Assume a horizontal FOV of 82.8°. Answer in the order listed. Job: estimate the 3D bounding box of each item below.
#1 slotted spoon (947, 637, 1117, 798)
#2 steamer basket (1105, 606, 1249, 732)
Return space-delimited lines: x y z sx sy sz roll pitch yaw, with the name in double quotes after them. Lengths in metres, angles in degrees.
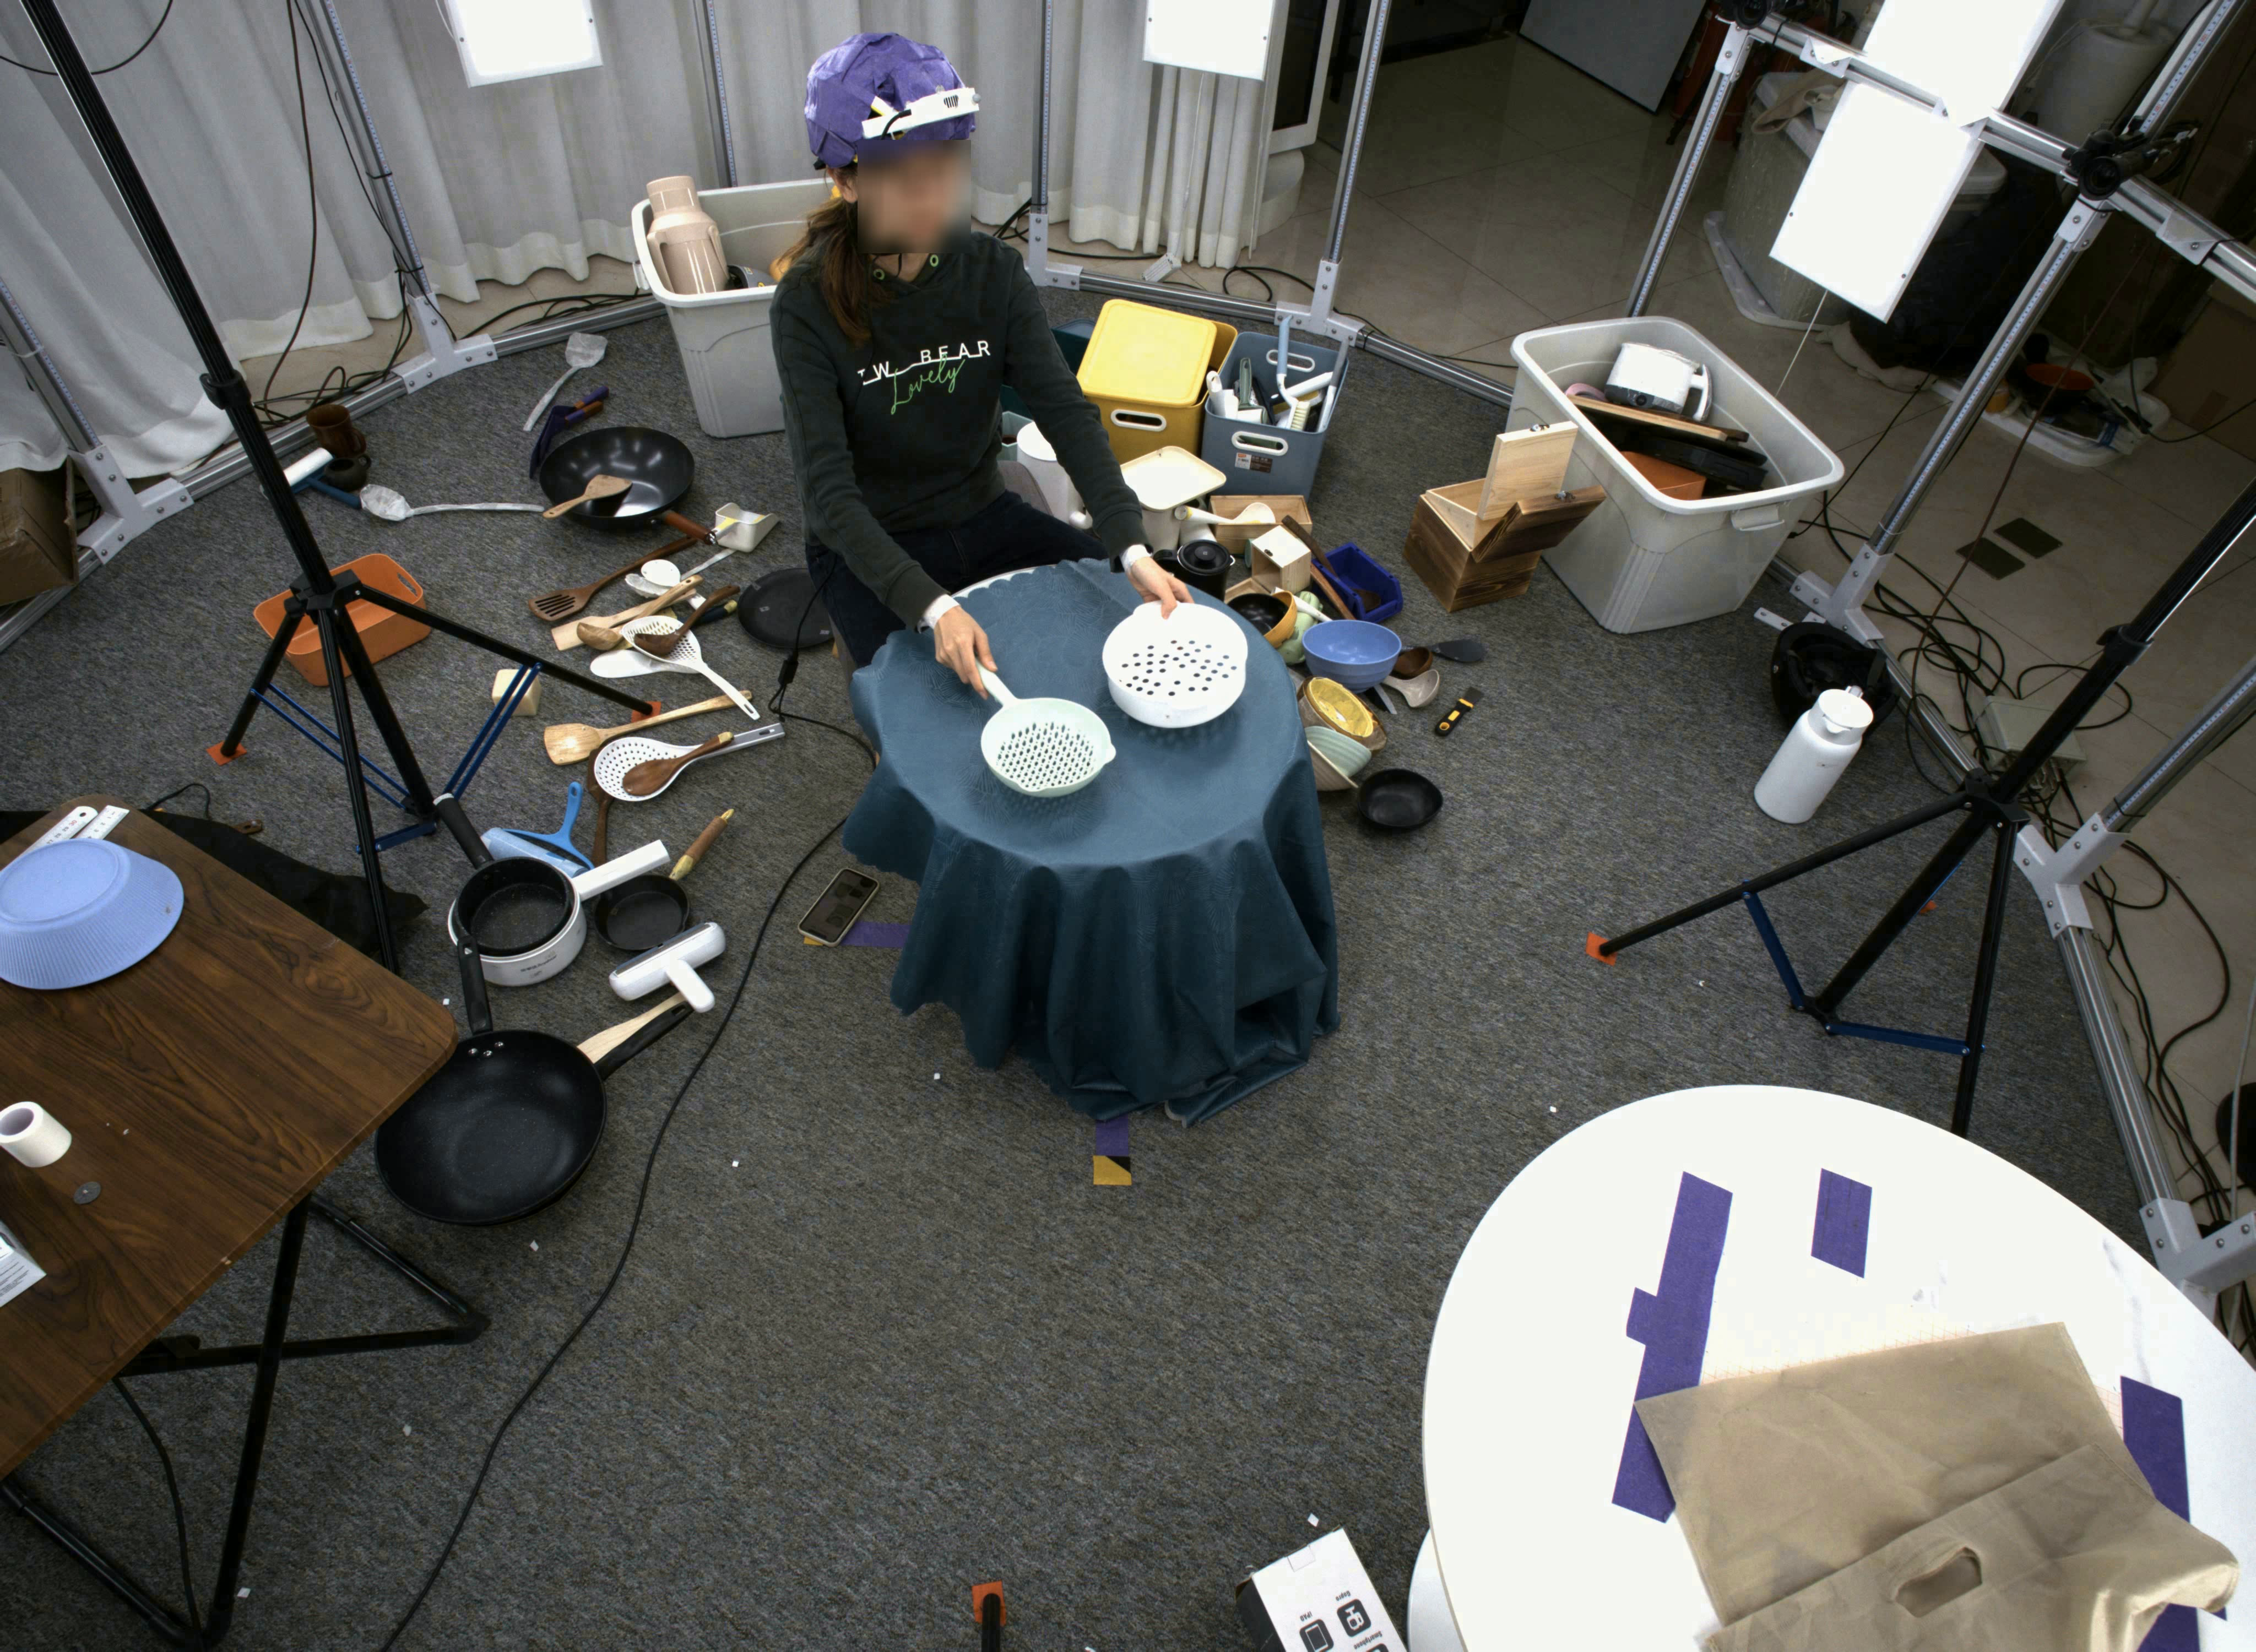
-0.160 -0.164 1.756 0.170 0.073 0.366 -23 58 -24 "slotted spoon"
0.070 -0.219 1.814 0.202 0.067 0.236 -14 47 -7 "steamer basket"
